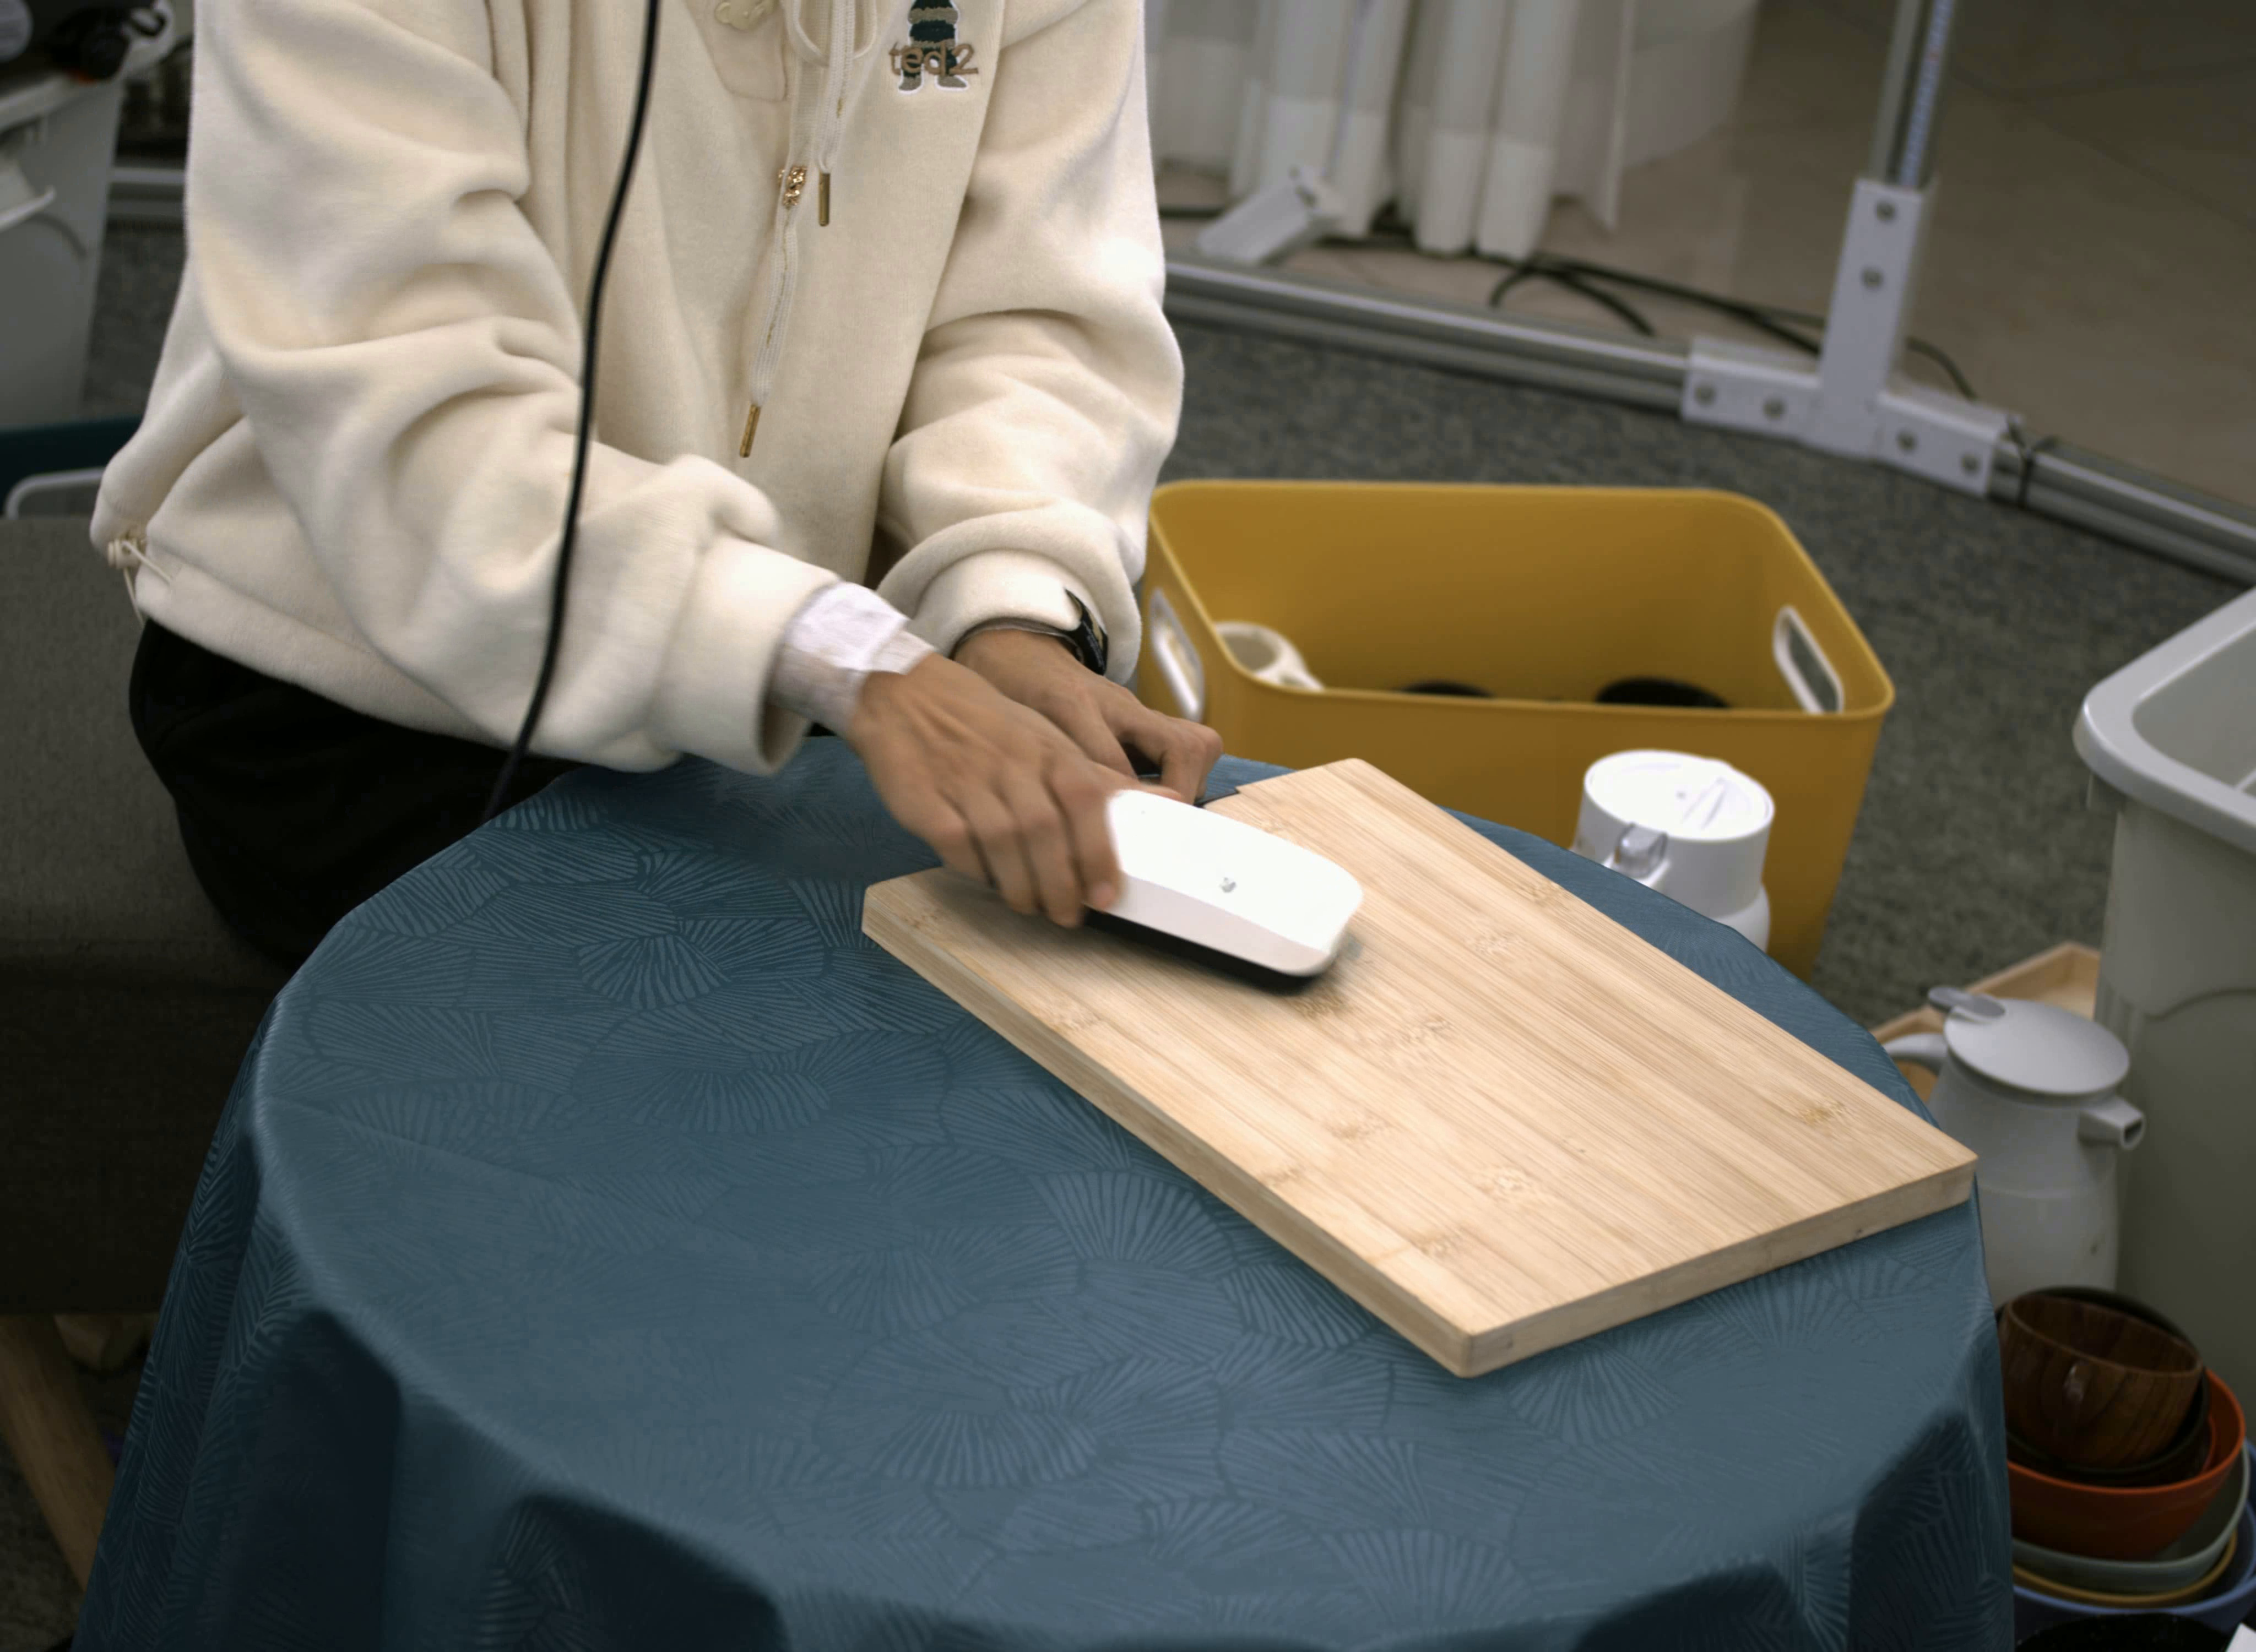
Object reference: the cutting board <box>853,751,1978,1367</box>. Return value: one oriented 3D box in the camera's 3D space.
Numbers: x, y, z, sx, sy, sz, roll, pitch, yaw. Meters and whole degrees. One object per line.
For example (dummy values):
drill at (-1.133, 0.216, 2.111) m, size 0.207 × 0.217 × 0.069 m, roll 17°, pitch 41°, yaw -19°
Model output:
cutting board at (0.097, 0.075, 1.902) m, size 0.249 × 0.023 × 0.351 m, roll -16°, pitch 34°, yaw -36°

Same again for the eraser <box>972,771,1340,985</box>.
eraser at (0.010, 0.015, 1.924) m, size 0.131 × 0.034 × 0.063 m, roll 19°, pitch 30°, yaw 15°
